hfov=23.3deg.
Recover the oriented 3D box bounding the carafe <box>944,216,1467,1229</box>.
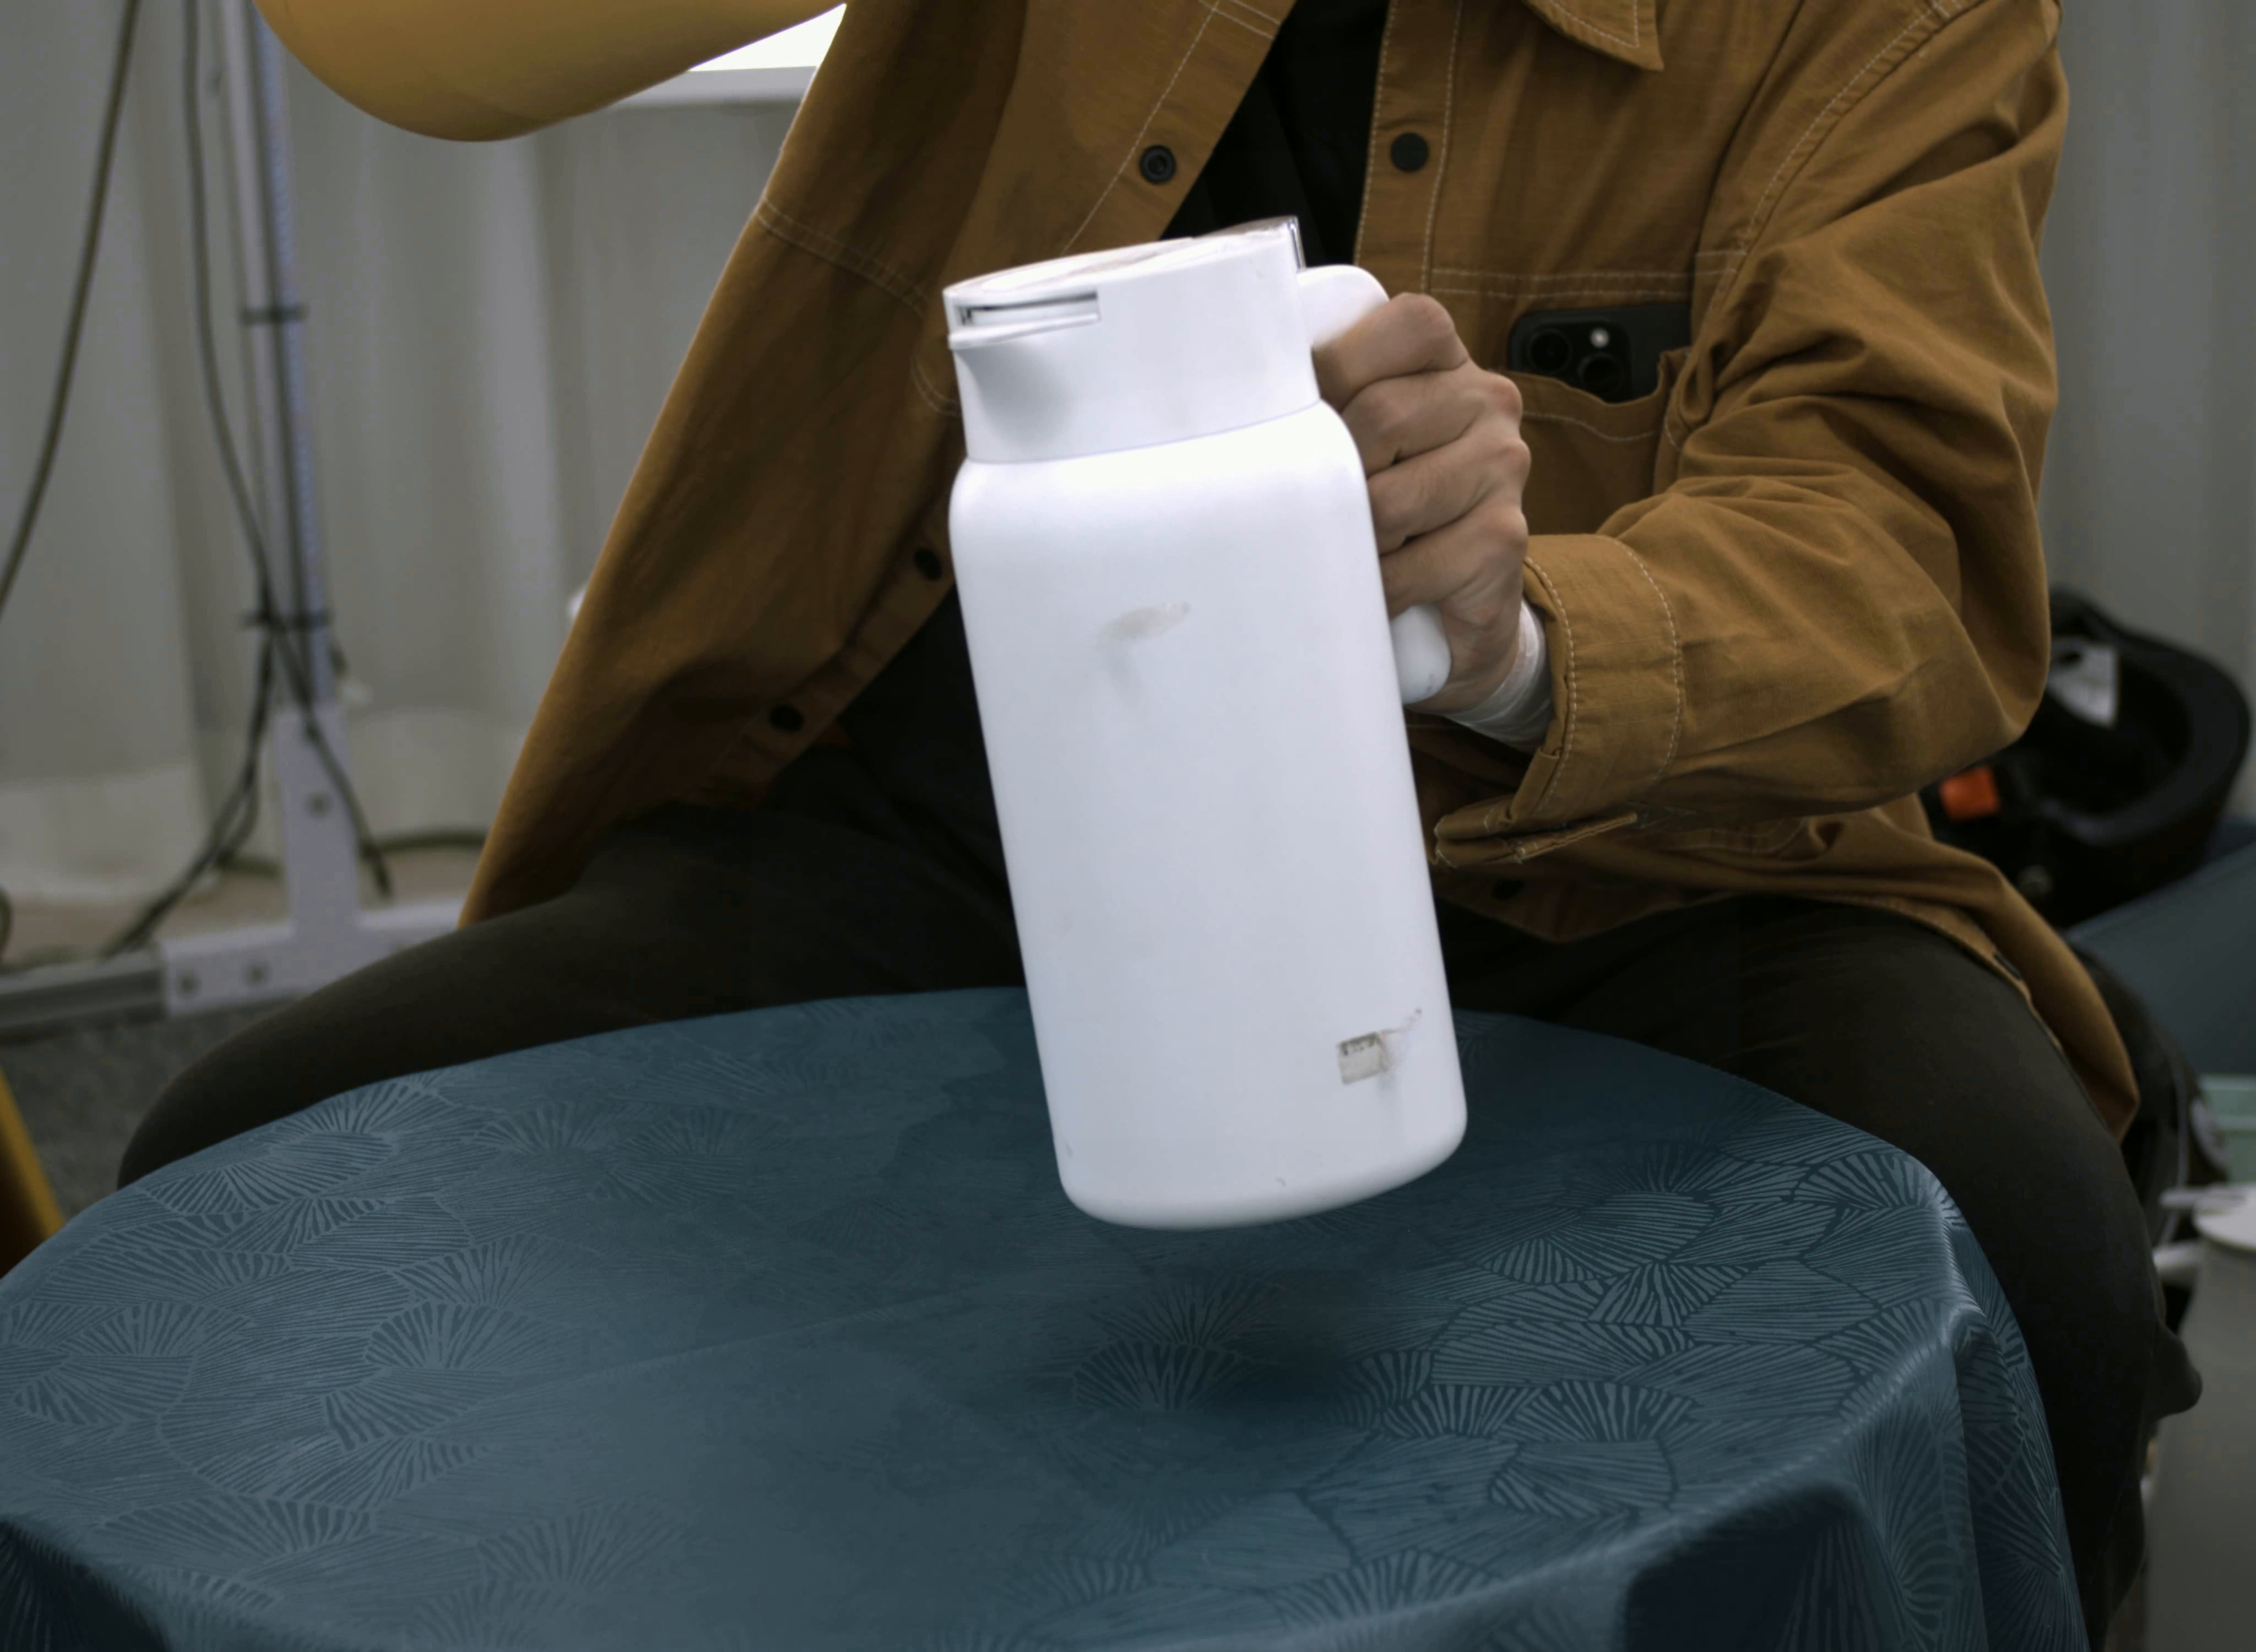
[{"bbox_3d":[0.028,-0.033,1.542,0.124,0.268,0.172,-5,10,41],"label":"carafe"}]

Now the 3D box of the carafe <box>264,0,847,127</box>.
[{"bbox_3d":[-0.132,-0.320,1.549,0.260,0.202,0.163,-13,7,34],"label":"carafe"}]
